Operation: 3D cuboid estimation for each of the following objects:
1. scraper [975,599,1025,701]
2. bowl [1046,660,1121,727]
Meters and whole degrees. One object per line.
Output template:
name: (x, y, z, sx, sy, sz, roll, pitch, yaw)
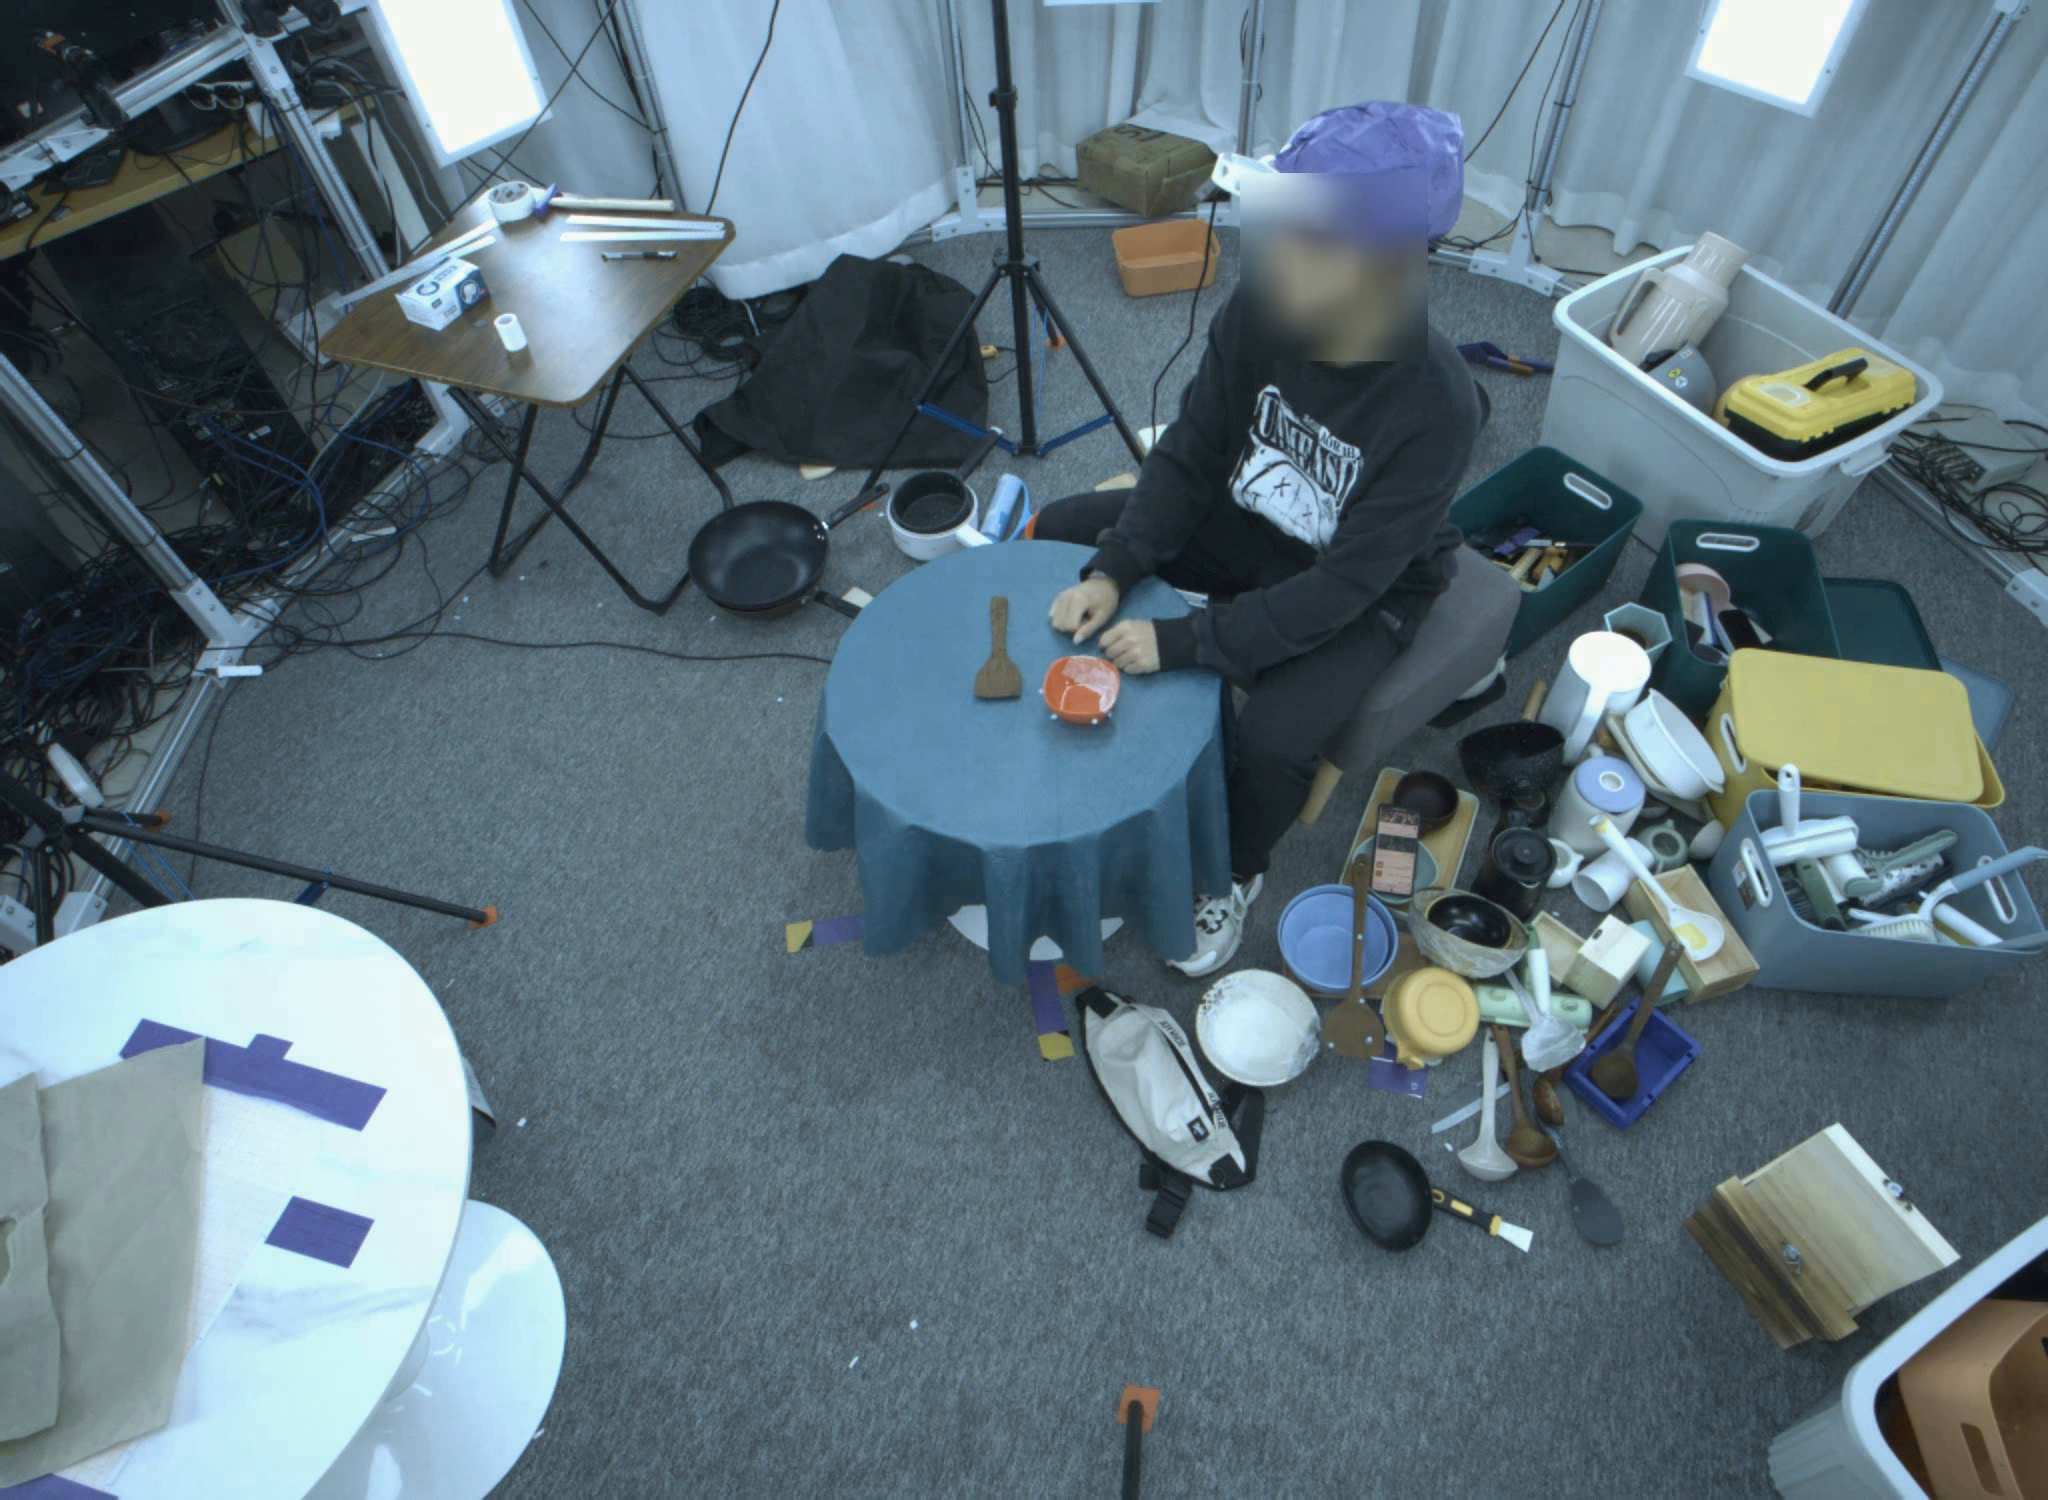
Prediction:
scraper: (-0.038, -0.157, 1.905, 0.076, 0.011, 0.209, -1, 54, 0)
bowl: (0.089, -0.076, 1.820, 0.119, 0.052, 0.117, -1, 54, 3)
